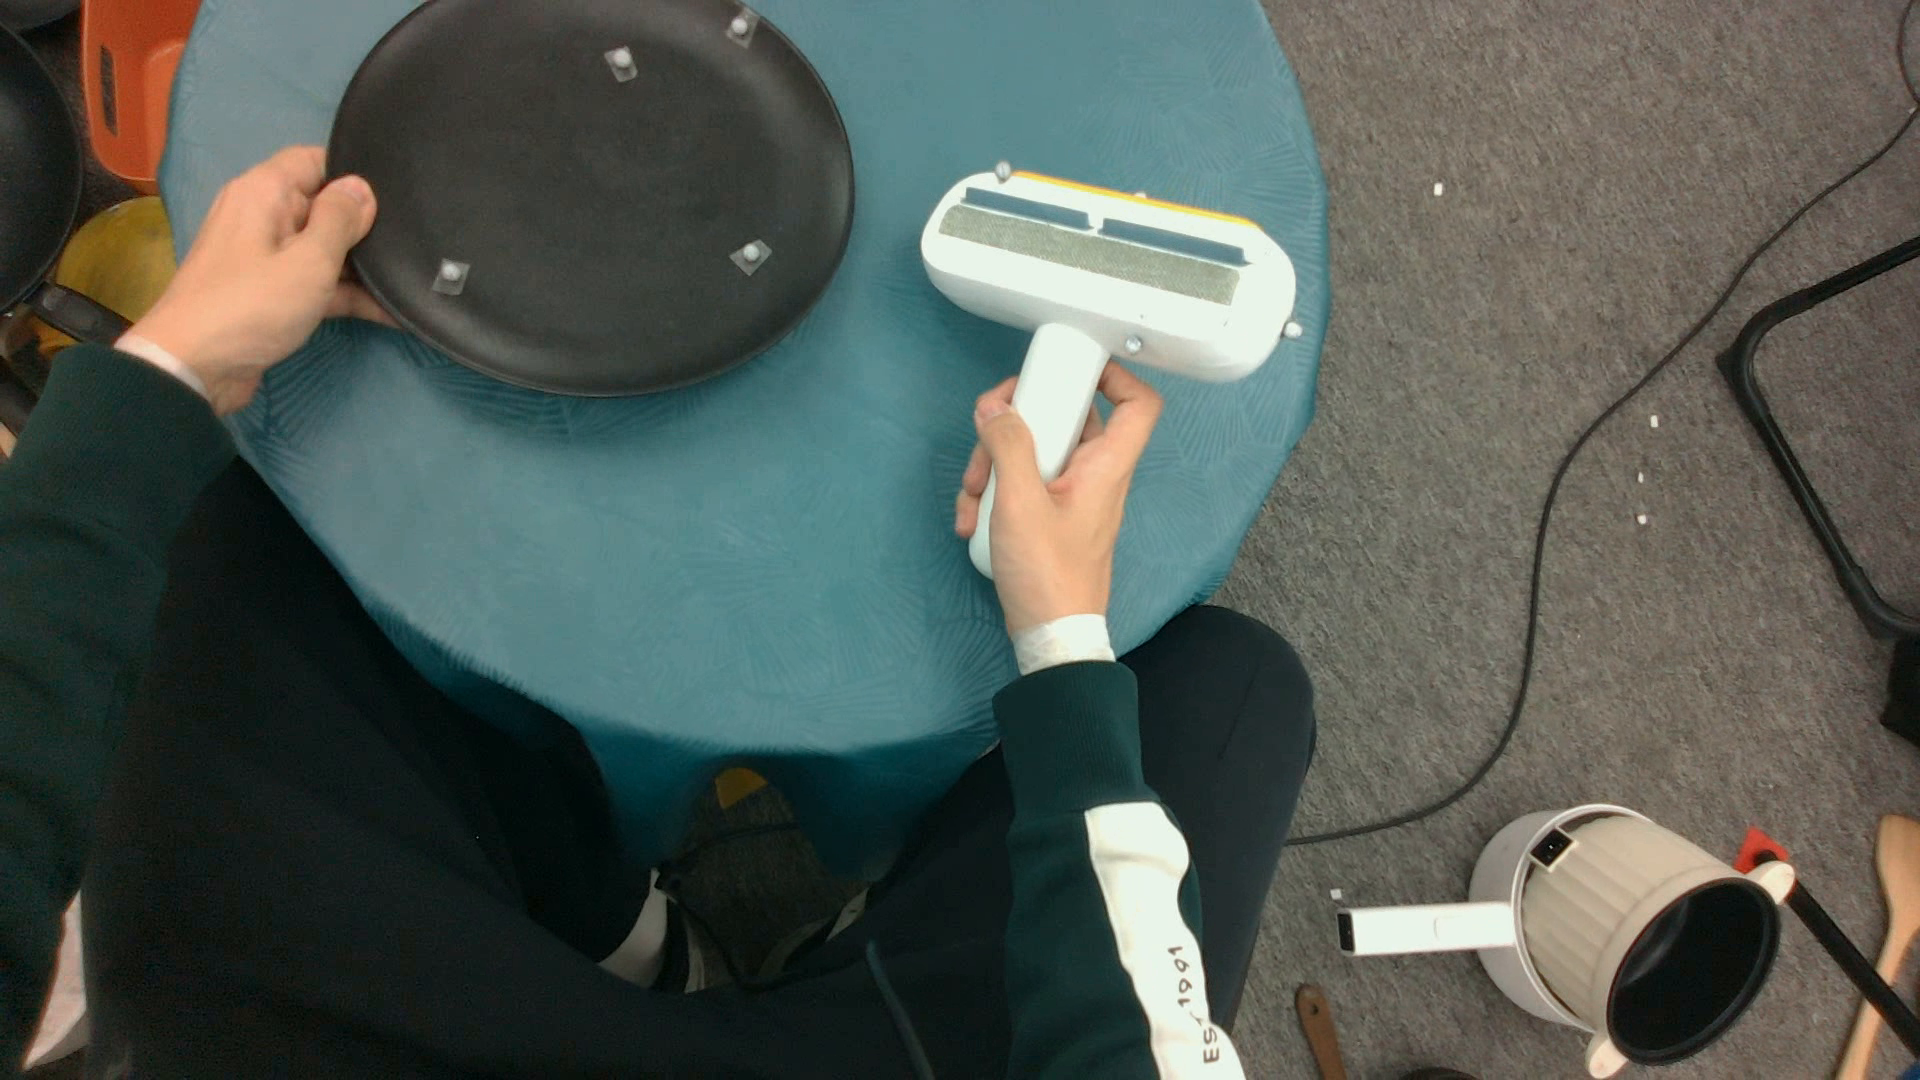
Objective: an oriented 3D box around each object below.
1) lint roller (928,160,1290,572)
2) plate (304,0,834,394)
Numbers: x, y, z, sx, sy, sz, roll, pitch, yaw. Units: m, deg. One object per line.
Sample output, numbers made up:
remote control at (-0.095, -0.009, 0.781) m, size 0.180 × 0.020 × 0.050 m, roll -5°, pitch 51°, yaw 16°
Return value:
lint roller at (0.047, -0.075, 0.671) m, size 0.193 × 0.074 × 0.192 m, roll 28°, pitch 99°, yaw 30°
plate at (-0.183, -0.176, 0.664) m, size 0.244 × 0.023 × 0.245 m, roll 4°, pitch 69°, yaw -10°
